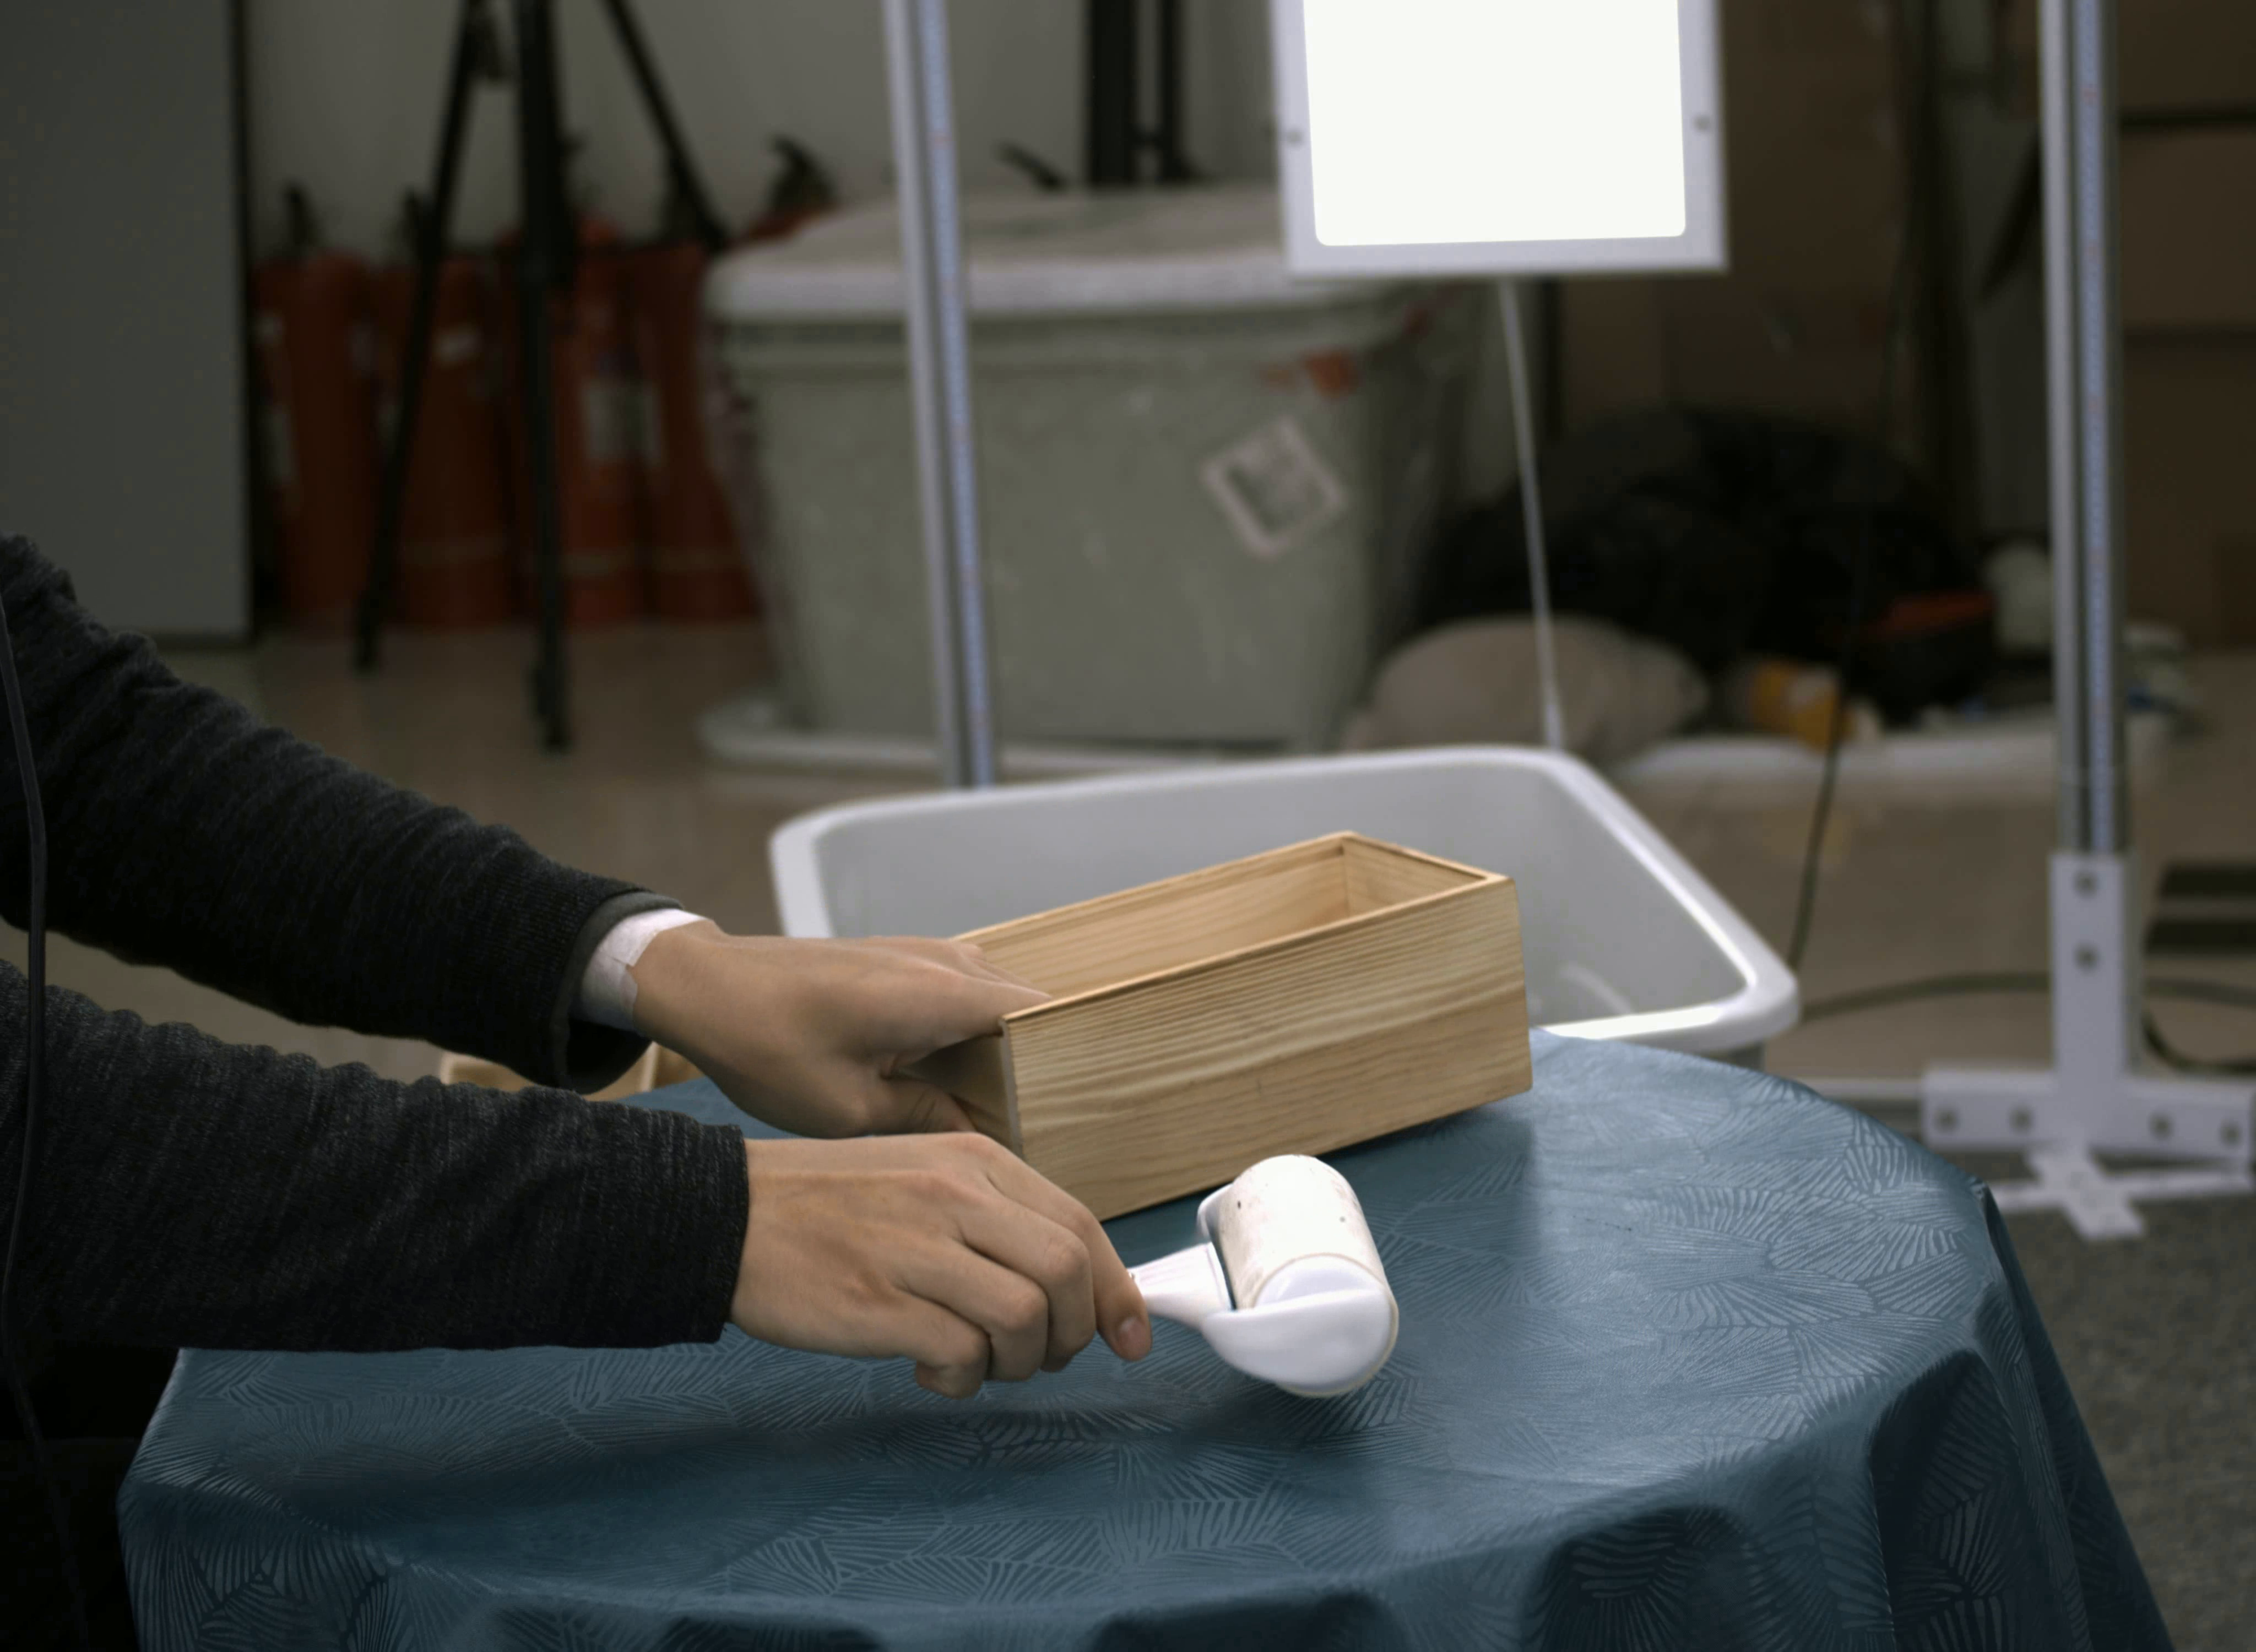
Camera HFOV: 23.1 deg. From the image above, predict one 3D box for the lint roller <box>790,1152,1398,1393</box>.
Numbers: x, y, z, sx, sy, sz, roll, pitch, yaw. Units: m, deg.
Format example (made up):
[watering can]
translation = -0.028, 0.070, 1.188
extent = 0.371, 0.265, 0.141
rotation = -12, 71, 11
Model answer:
[lint roller]
translation = -0.012, 0.133, 1.672
extent = 0.180, 0.050, 0.132
rotation = 2, 14, -1

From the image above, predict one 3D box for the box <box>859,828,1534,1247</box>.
[box]
translation = 0.025, 0.071, 1.934
extent = 0.207, 0.080, 0.109
rotation = -16, 17, -28
